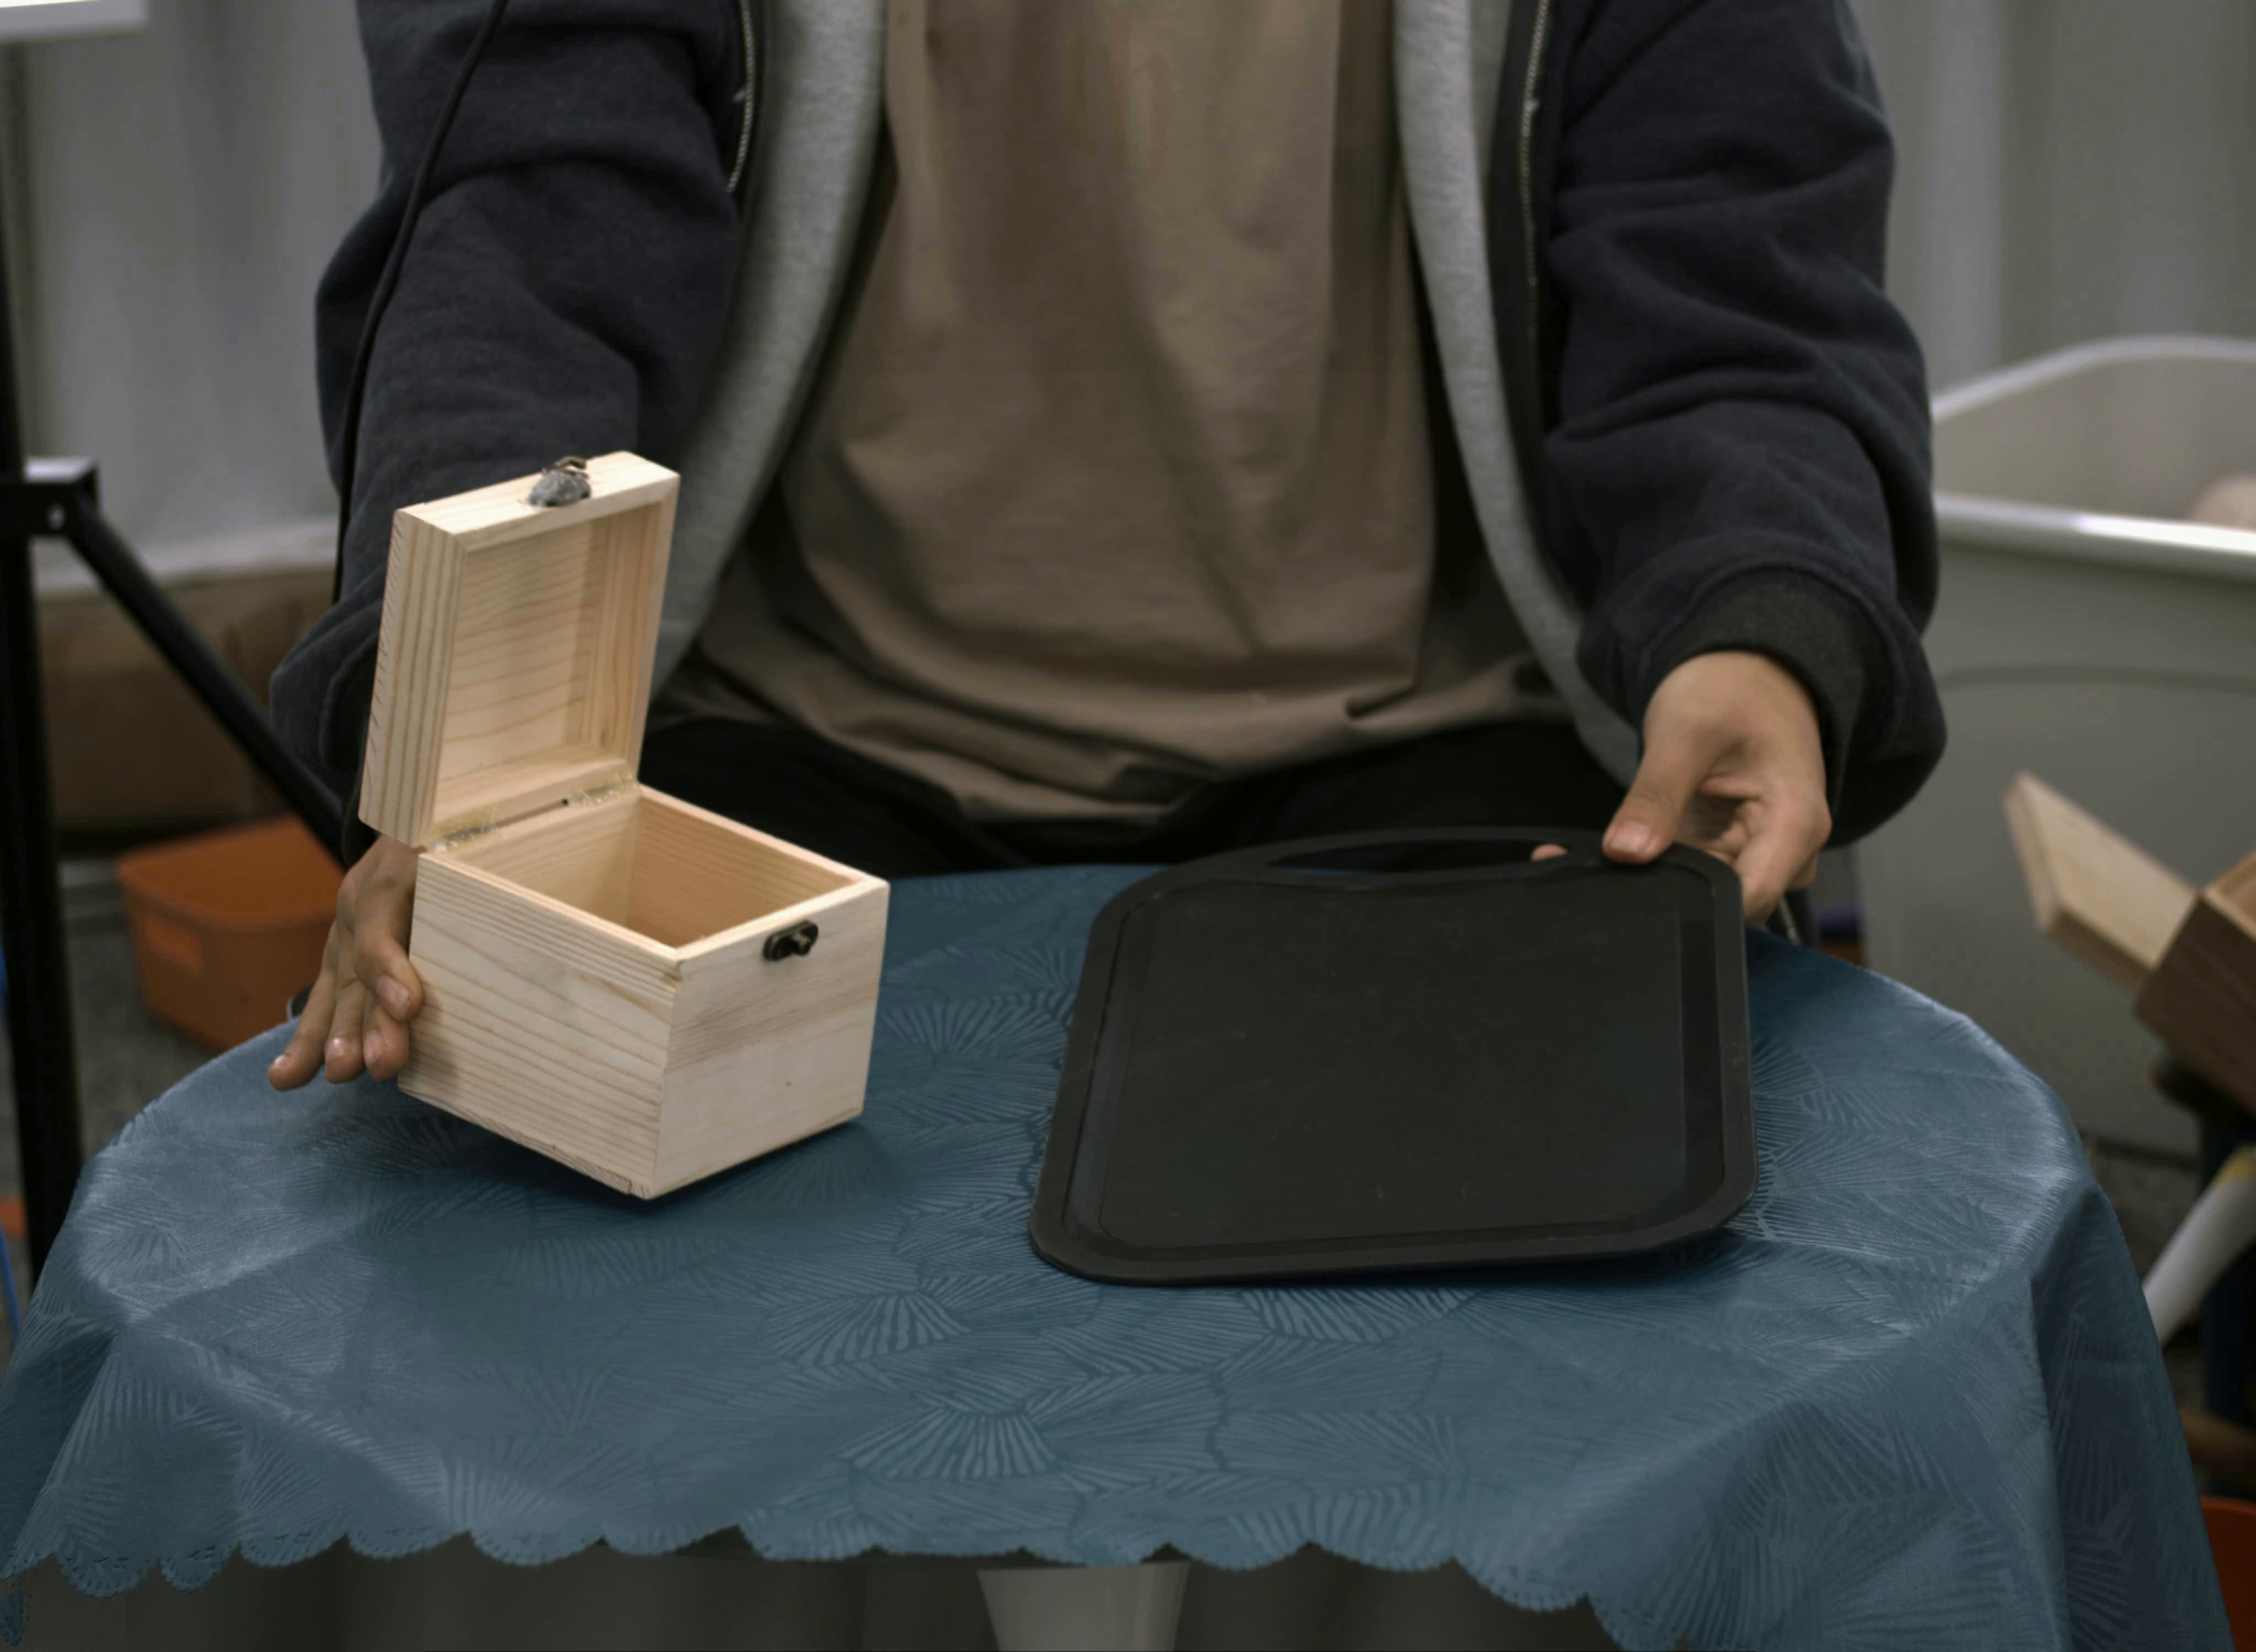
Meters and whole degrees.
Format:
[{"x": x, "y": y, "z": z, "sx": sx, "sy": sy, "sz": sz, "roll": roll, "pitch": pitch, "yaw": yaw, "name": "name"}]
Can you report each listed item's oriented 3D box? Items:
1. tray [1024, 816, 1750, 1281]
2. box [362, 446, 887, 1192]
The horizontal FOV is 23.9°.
[{"x": 0.083, "y": 0.060, "z": 1.620, "sx": 0.211, "sy": 0.010, "sz": 0.326, "roll": -4, "pitch": 22, "yaw": 8, "name": "tray"}, {"x": -0.147, "y": -0.005, "z": 1.595, "sx": 0.136, "sy": 0.184, "sz": 0.100, "roll": 19, "pitch": 22, "yaw": 32, "name": "box"}]
